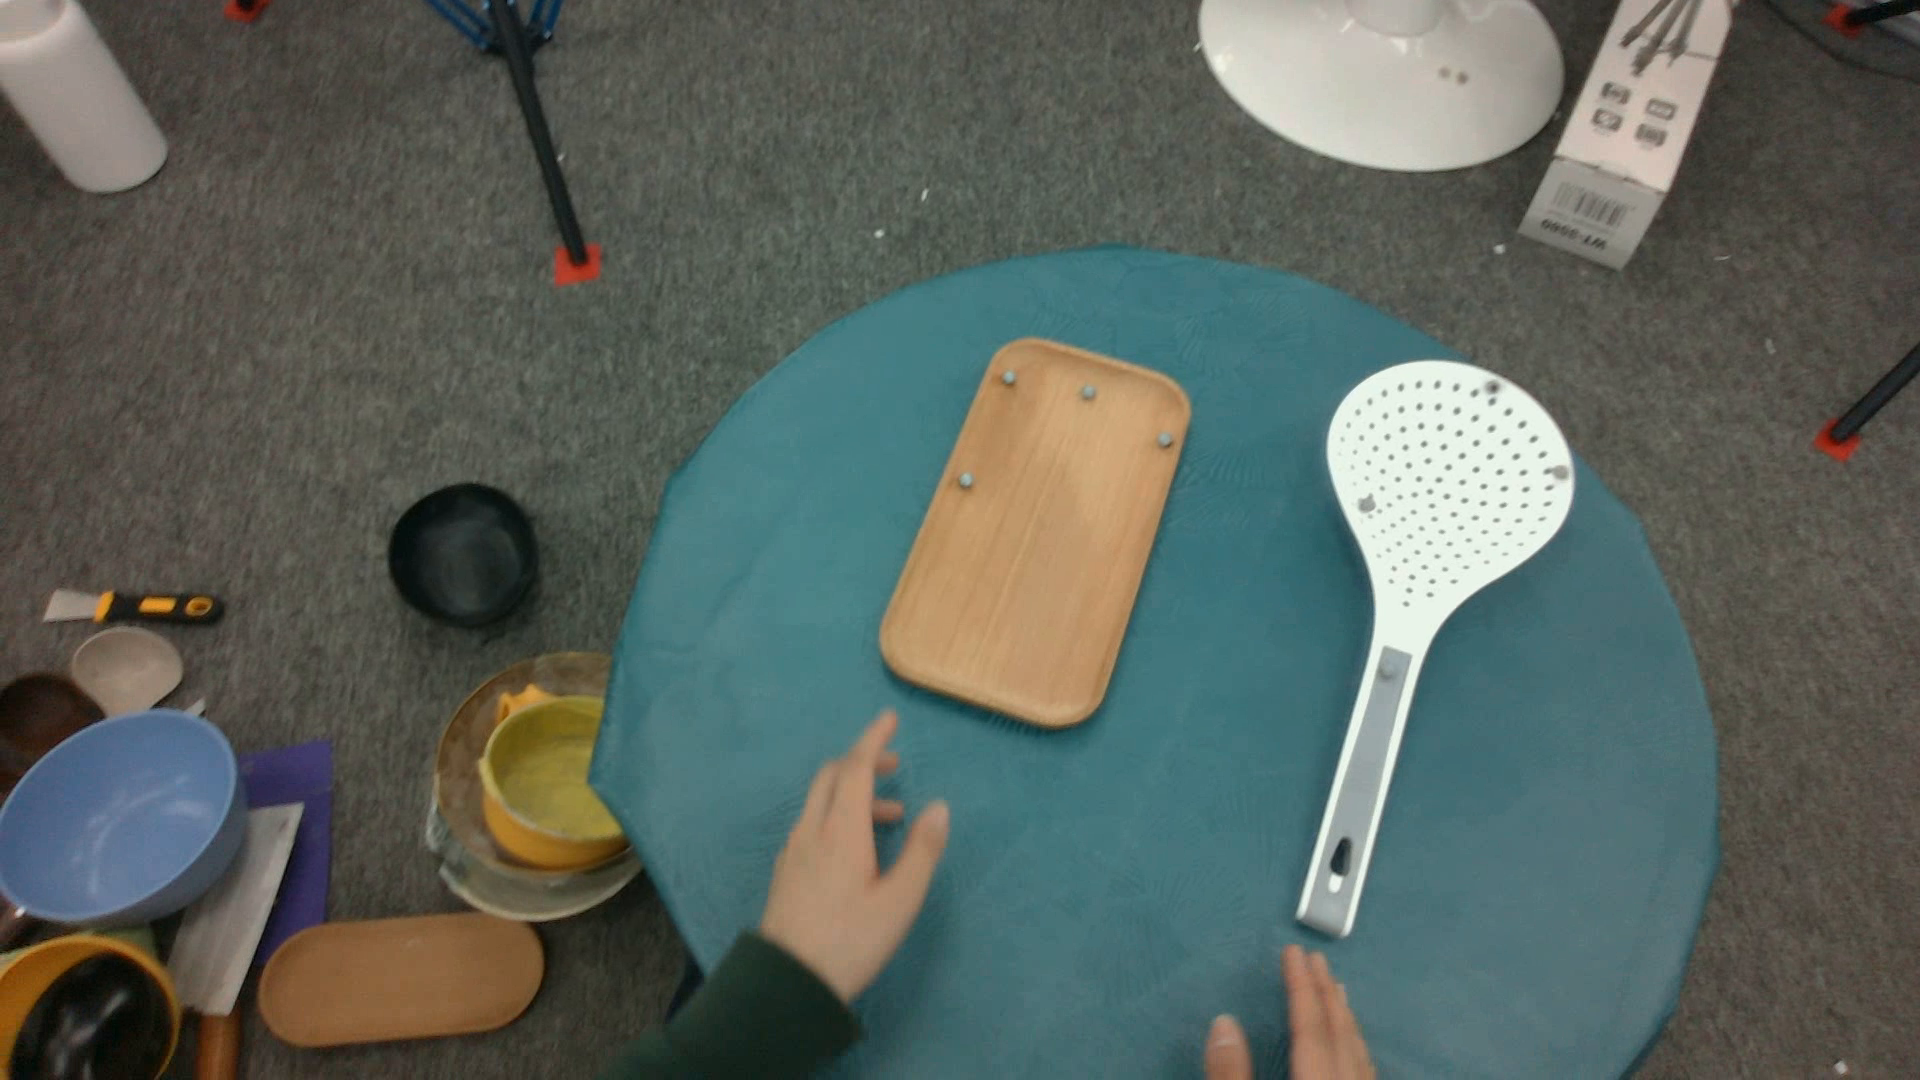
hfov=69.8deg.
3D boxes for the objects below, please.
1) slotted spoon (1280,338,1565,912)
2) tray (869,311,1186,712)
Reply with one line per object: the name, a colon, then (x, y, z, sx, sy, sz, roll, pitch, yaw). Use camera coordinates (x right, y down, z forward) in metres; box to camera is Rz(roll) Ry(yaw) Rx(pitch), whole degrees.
slotted spoon: (0.238, 0.035, 0.753, 0.136, 0.045, 0.351, 20, 62, 10)
tray: (0.044, -0.024, 0.790, 0.130, 0.023, 0.252, 17, 61, 8)
